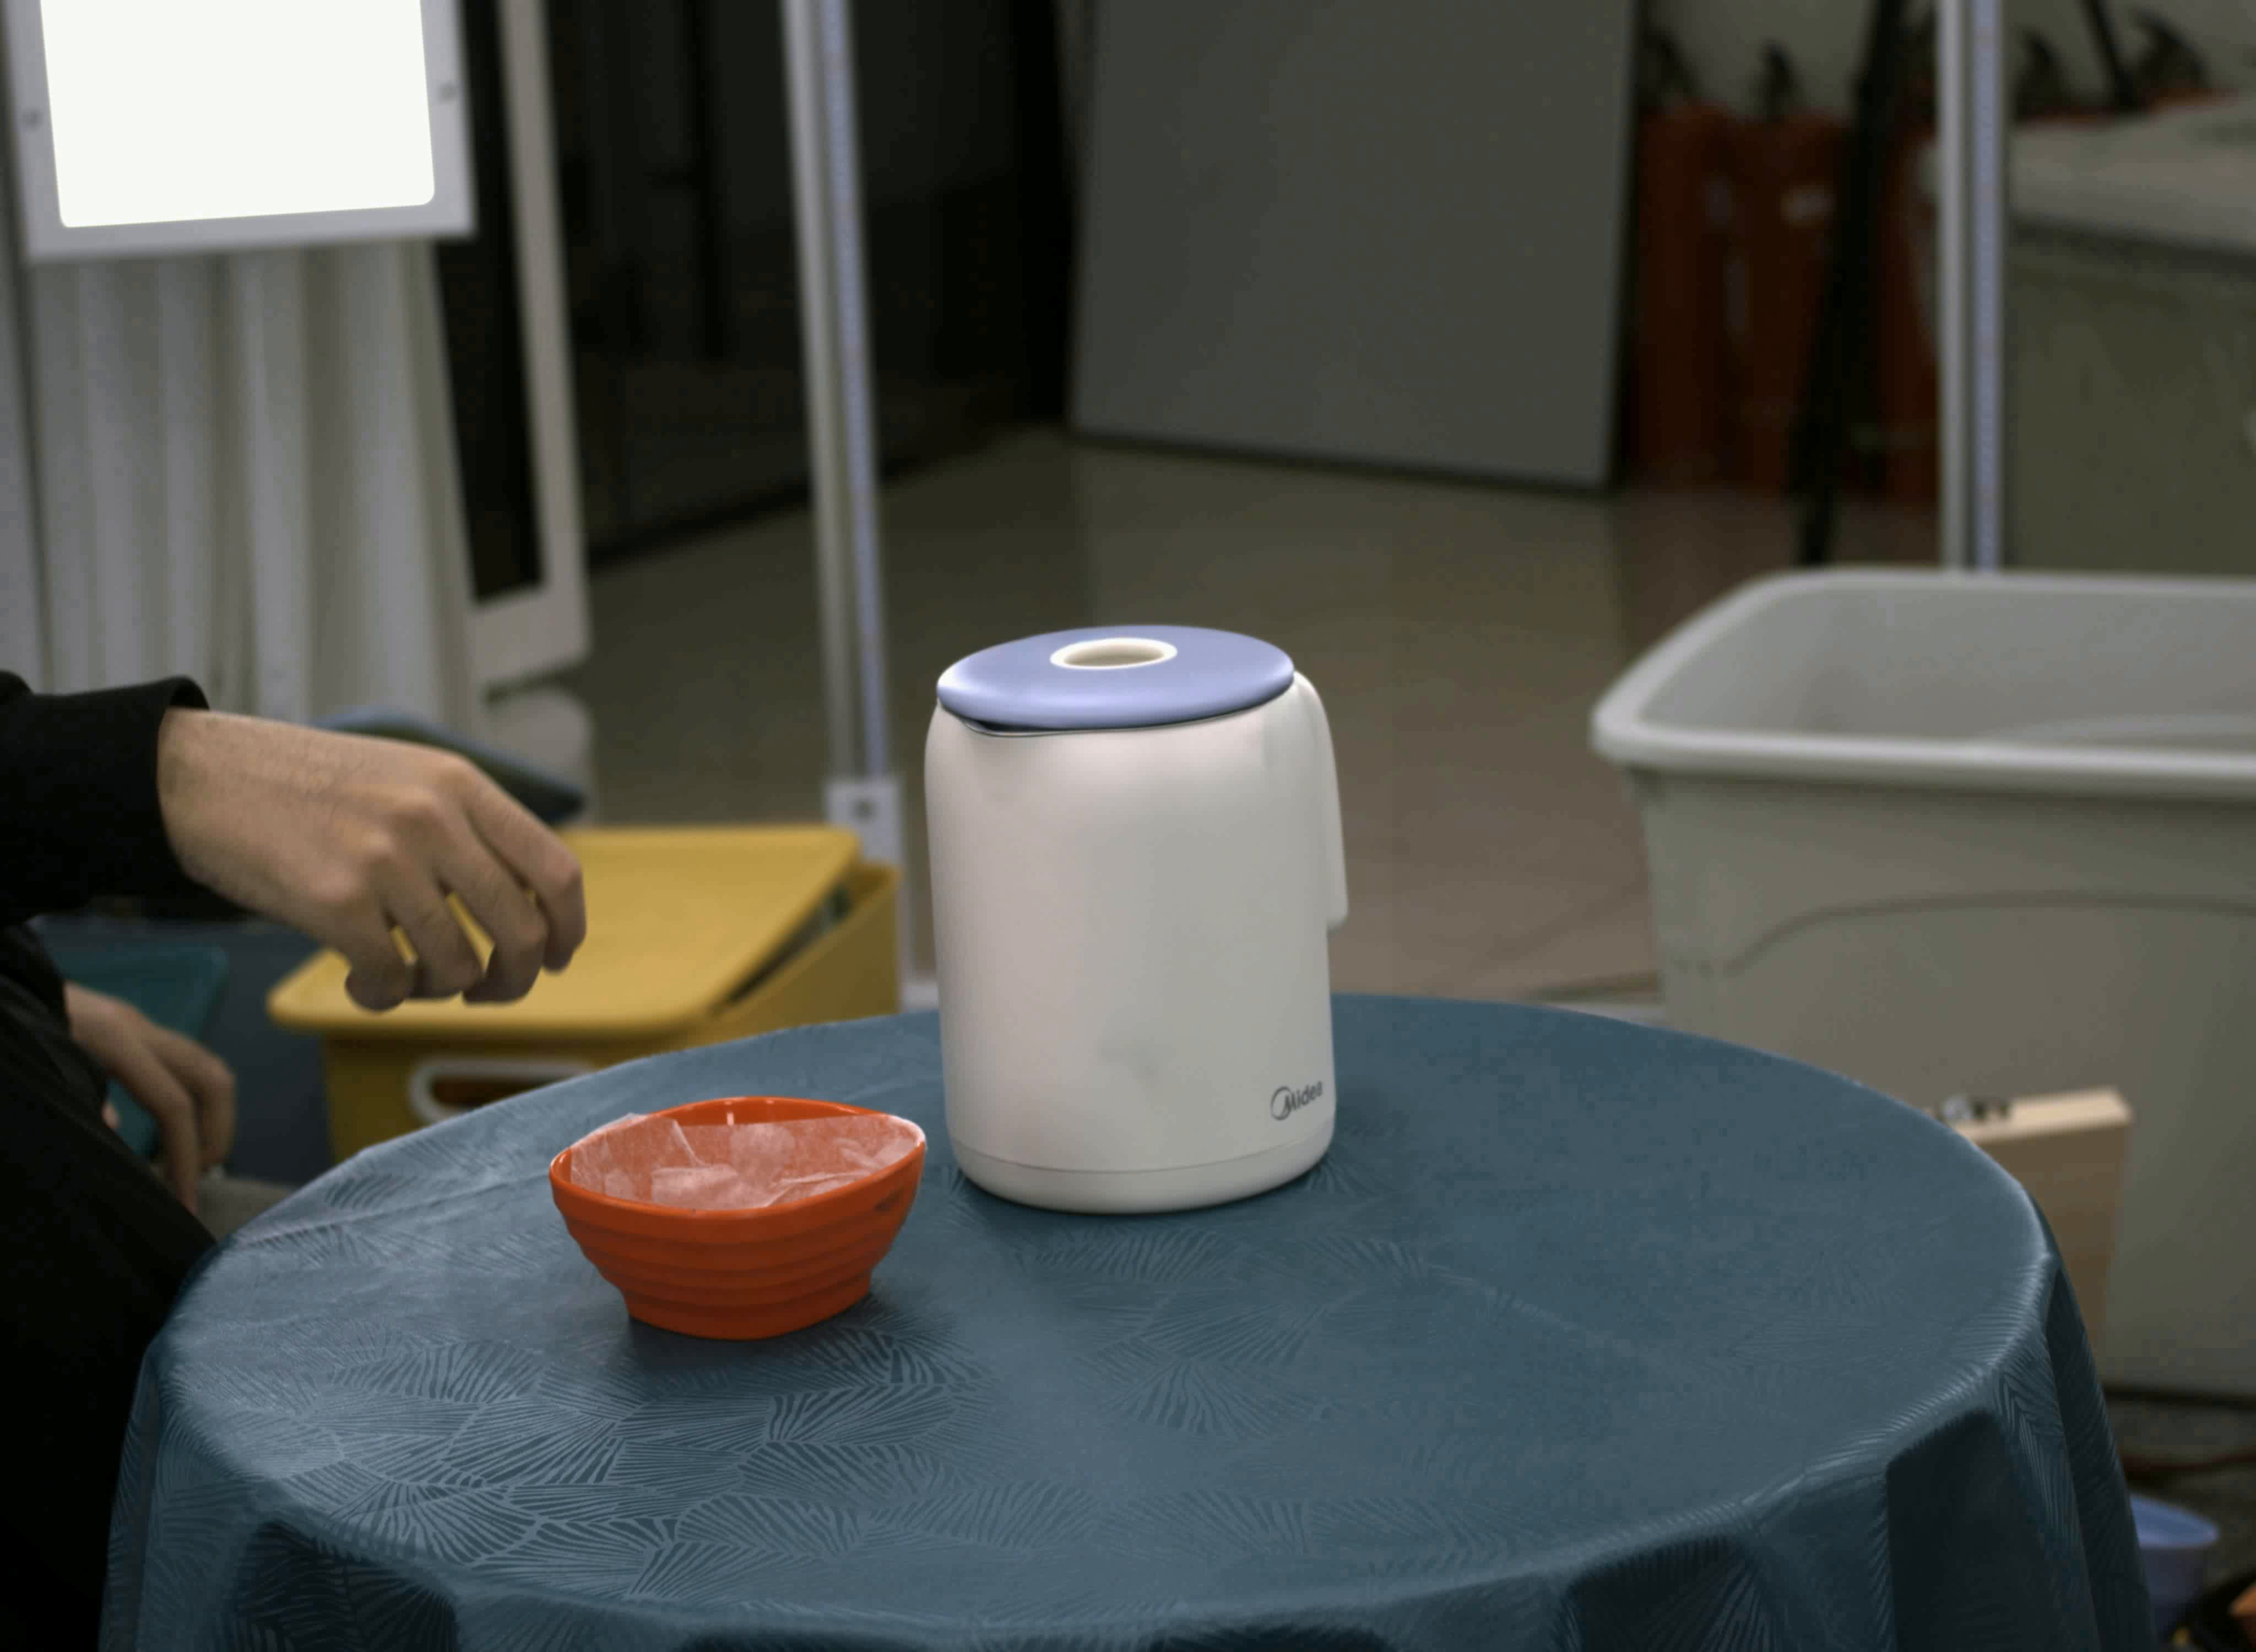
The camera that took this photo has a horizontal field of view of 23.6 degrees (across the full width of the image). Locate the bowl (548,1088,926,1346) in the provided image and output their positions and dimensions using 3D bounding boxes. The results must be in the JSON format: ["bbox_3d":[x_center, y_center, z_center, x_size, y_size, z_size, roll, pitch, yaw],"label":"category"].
[{"bbox_3d":[-0.120,0.124,1.683,0.117,0.052,0.119,-3,17,0],"label":"bowl"}]

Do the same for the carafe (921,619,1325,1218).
[{"bbox_3d":[0.012,0.025,1.802,0.133,0.184,0.188,7,15,34],"label":"carafe"}]
